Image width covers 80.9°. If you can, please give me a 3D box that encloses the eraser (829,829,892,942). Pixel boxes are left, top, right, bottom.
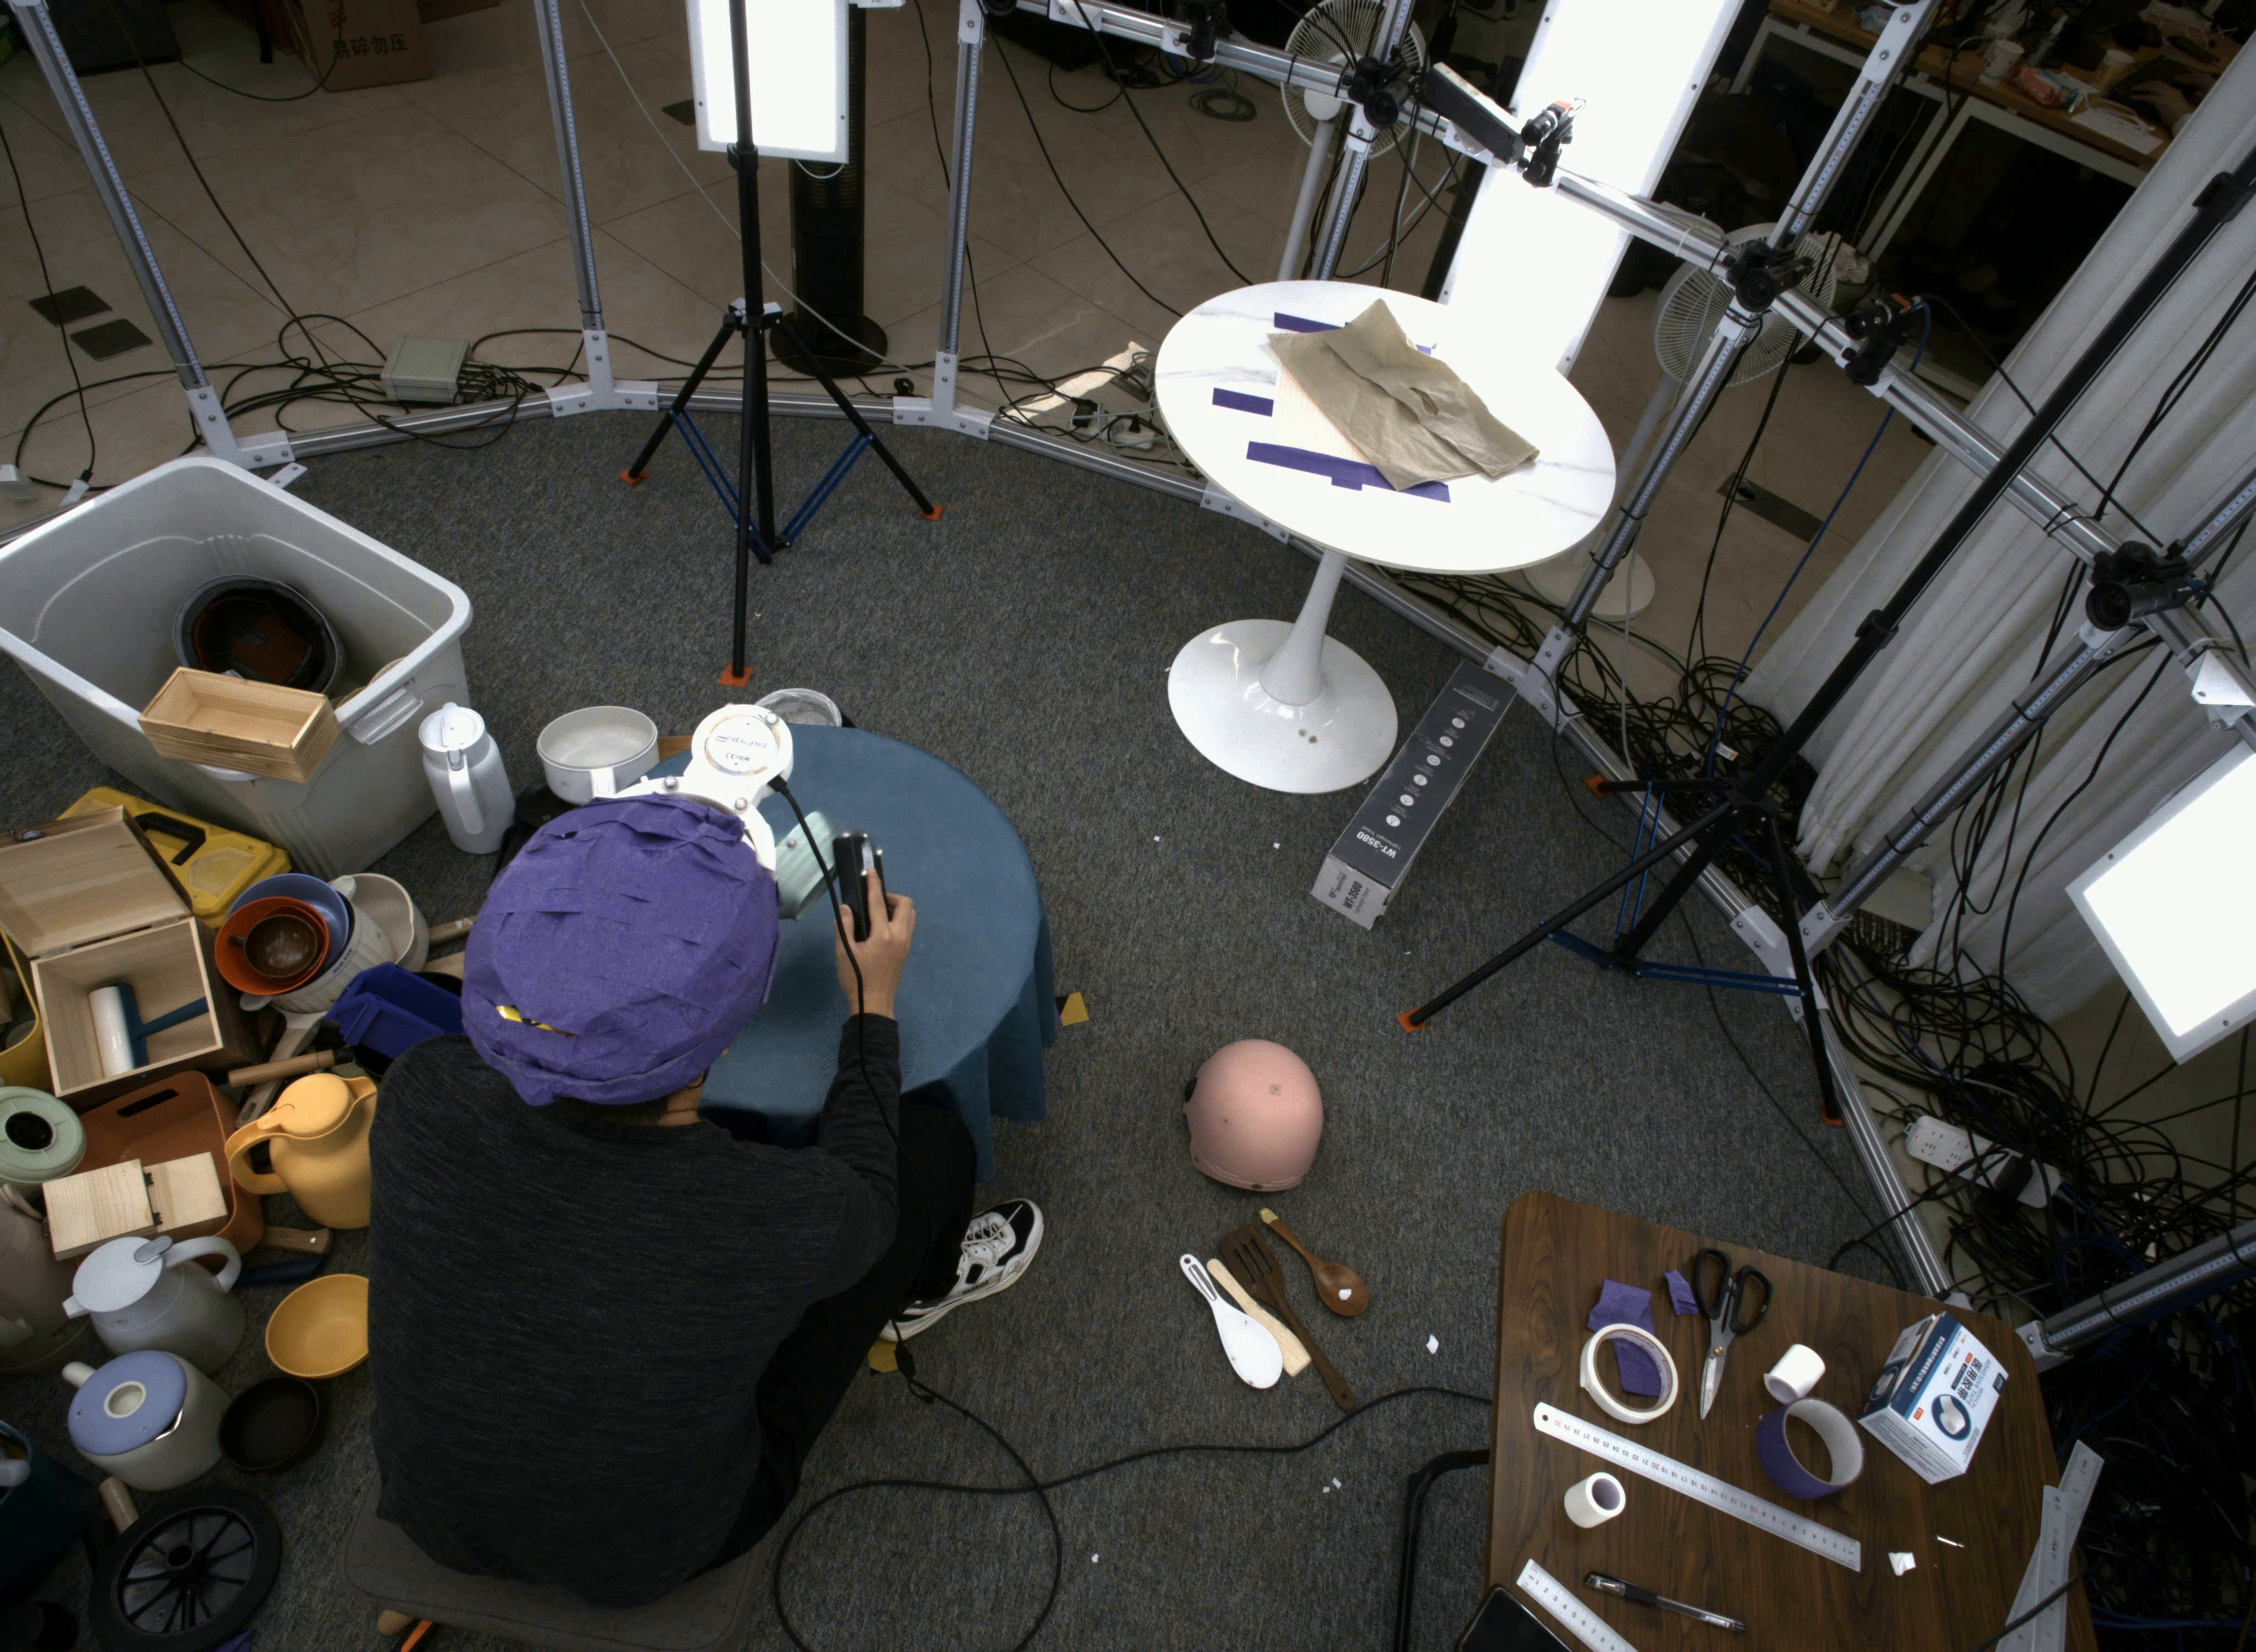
[{"bbox_3d":[-0.306,0.067,1.487,0.054,0.030,0.126,-4,82,-59],"label":"eraser"}]

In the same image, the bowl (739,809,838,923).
[{"bbox_3d":[-0.380,0.055,1.498,0.058,0.152,0.151,39,53,2],"label":"bowl"}]
